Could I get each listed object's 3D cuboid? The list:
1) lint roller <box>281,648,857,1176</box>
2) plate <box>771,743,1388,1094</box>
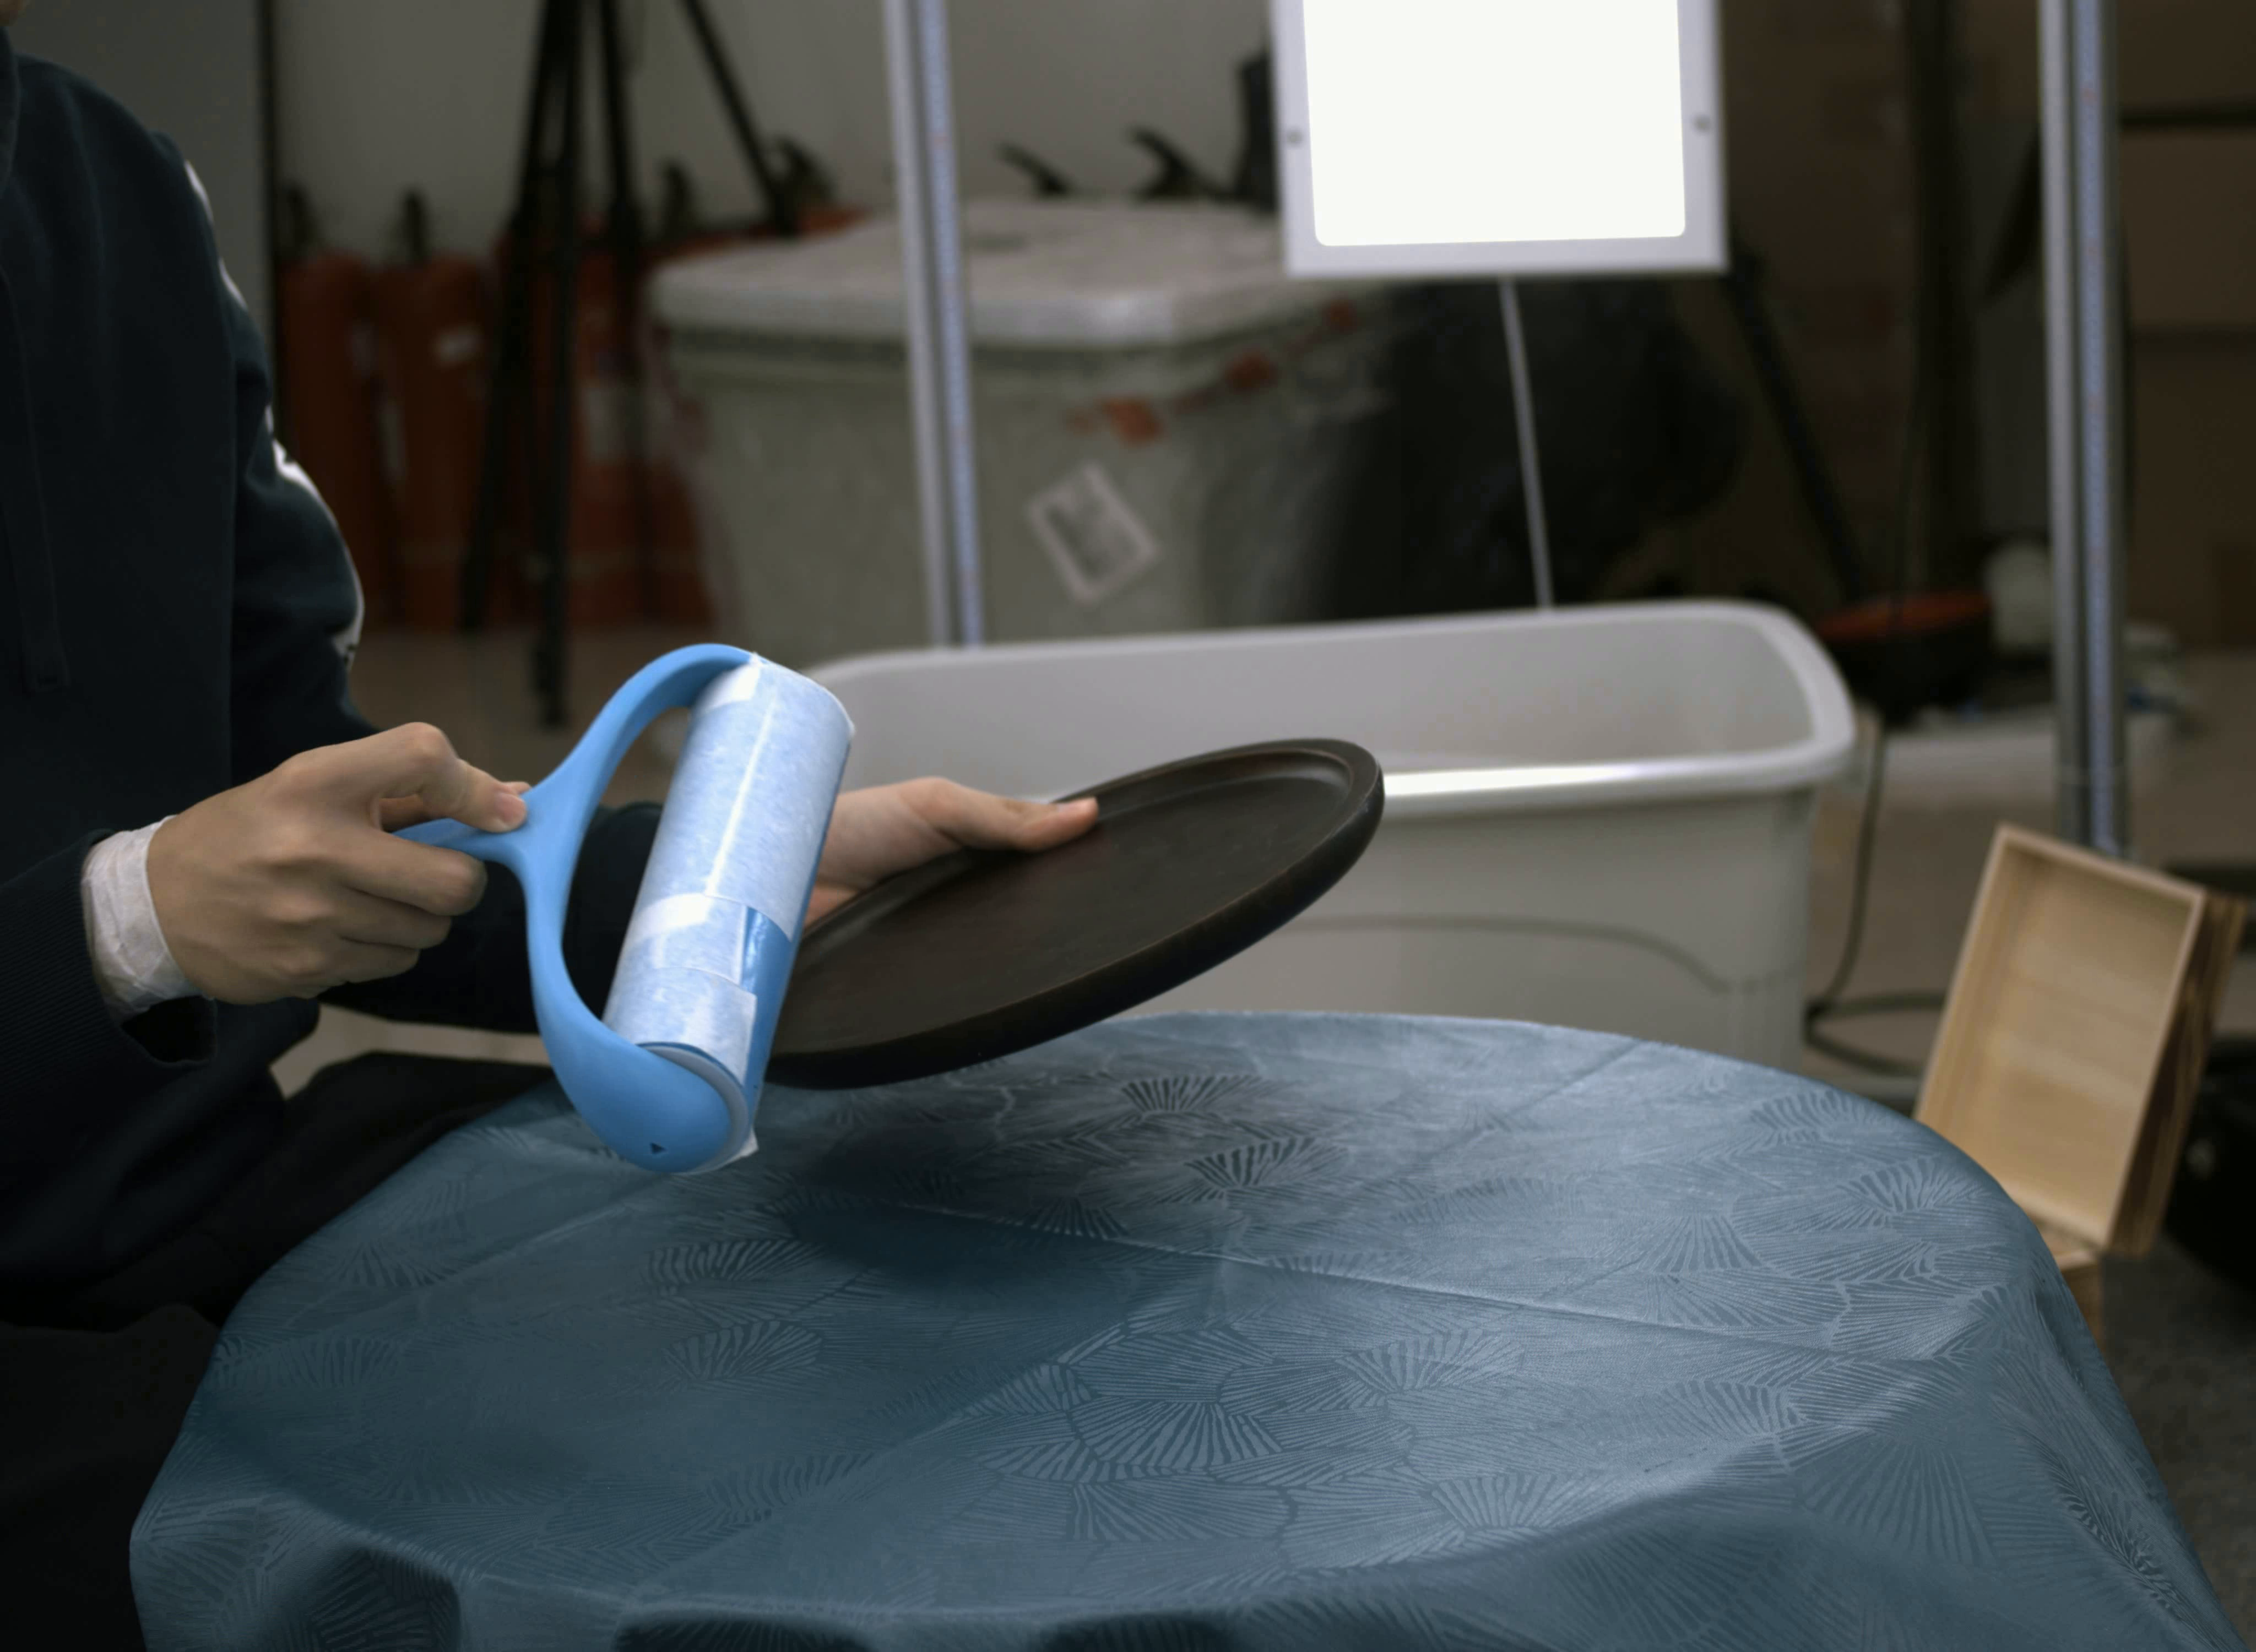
[{"bbox_3d":[-0.185,0.024,1.764,0.180,0.068,0.227,2,40,5],"label":"lint roller"},{"bbox_3d":[-0.025,0.032,1.929,0.255,0.029,0.254,-21,13,3],"label":"plate"}]
